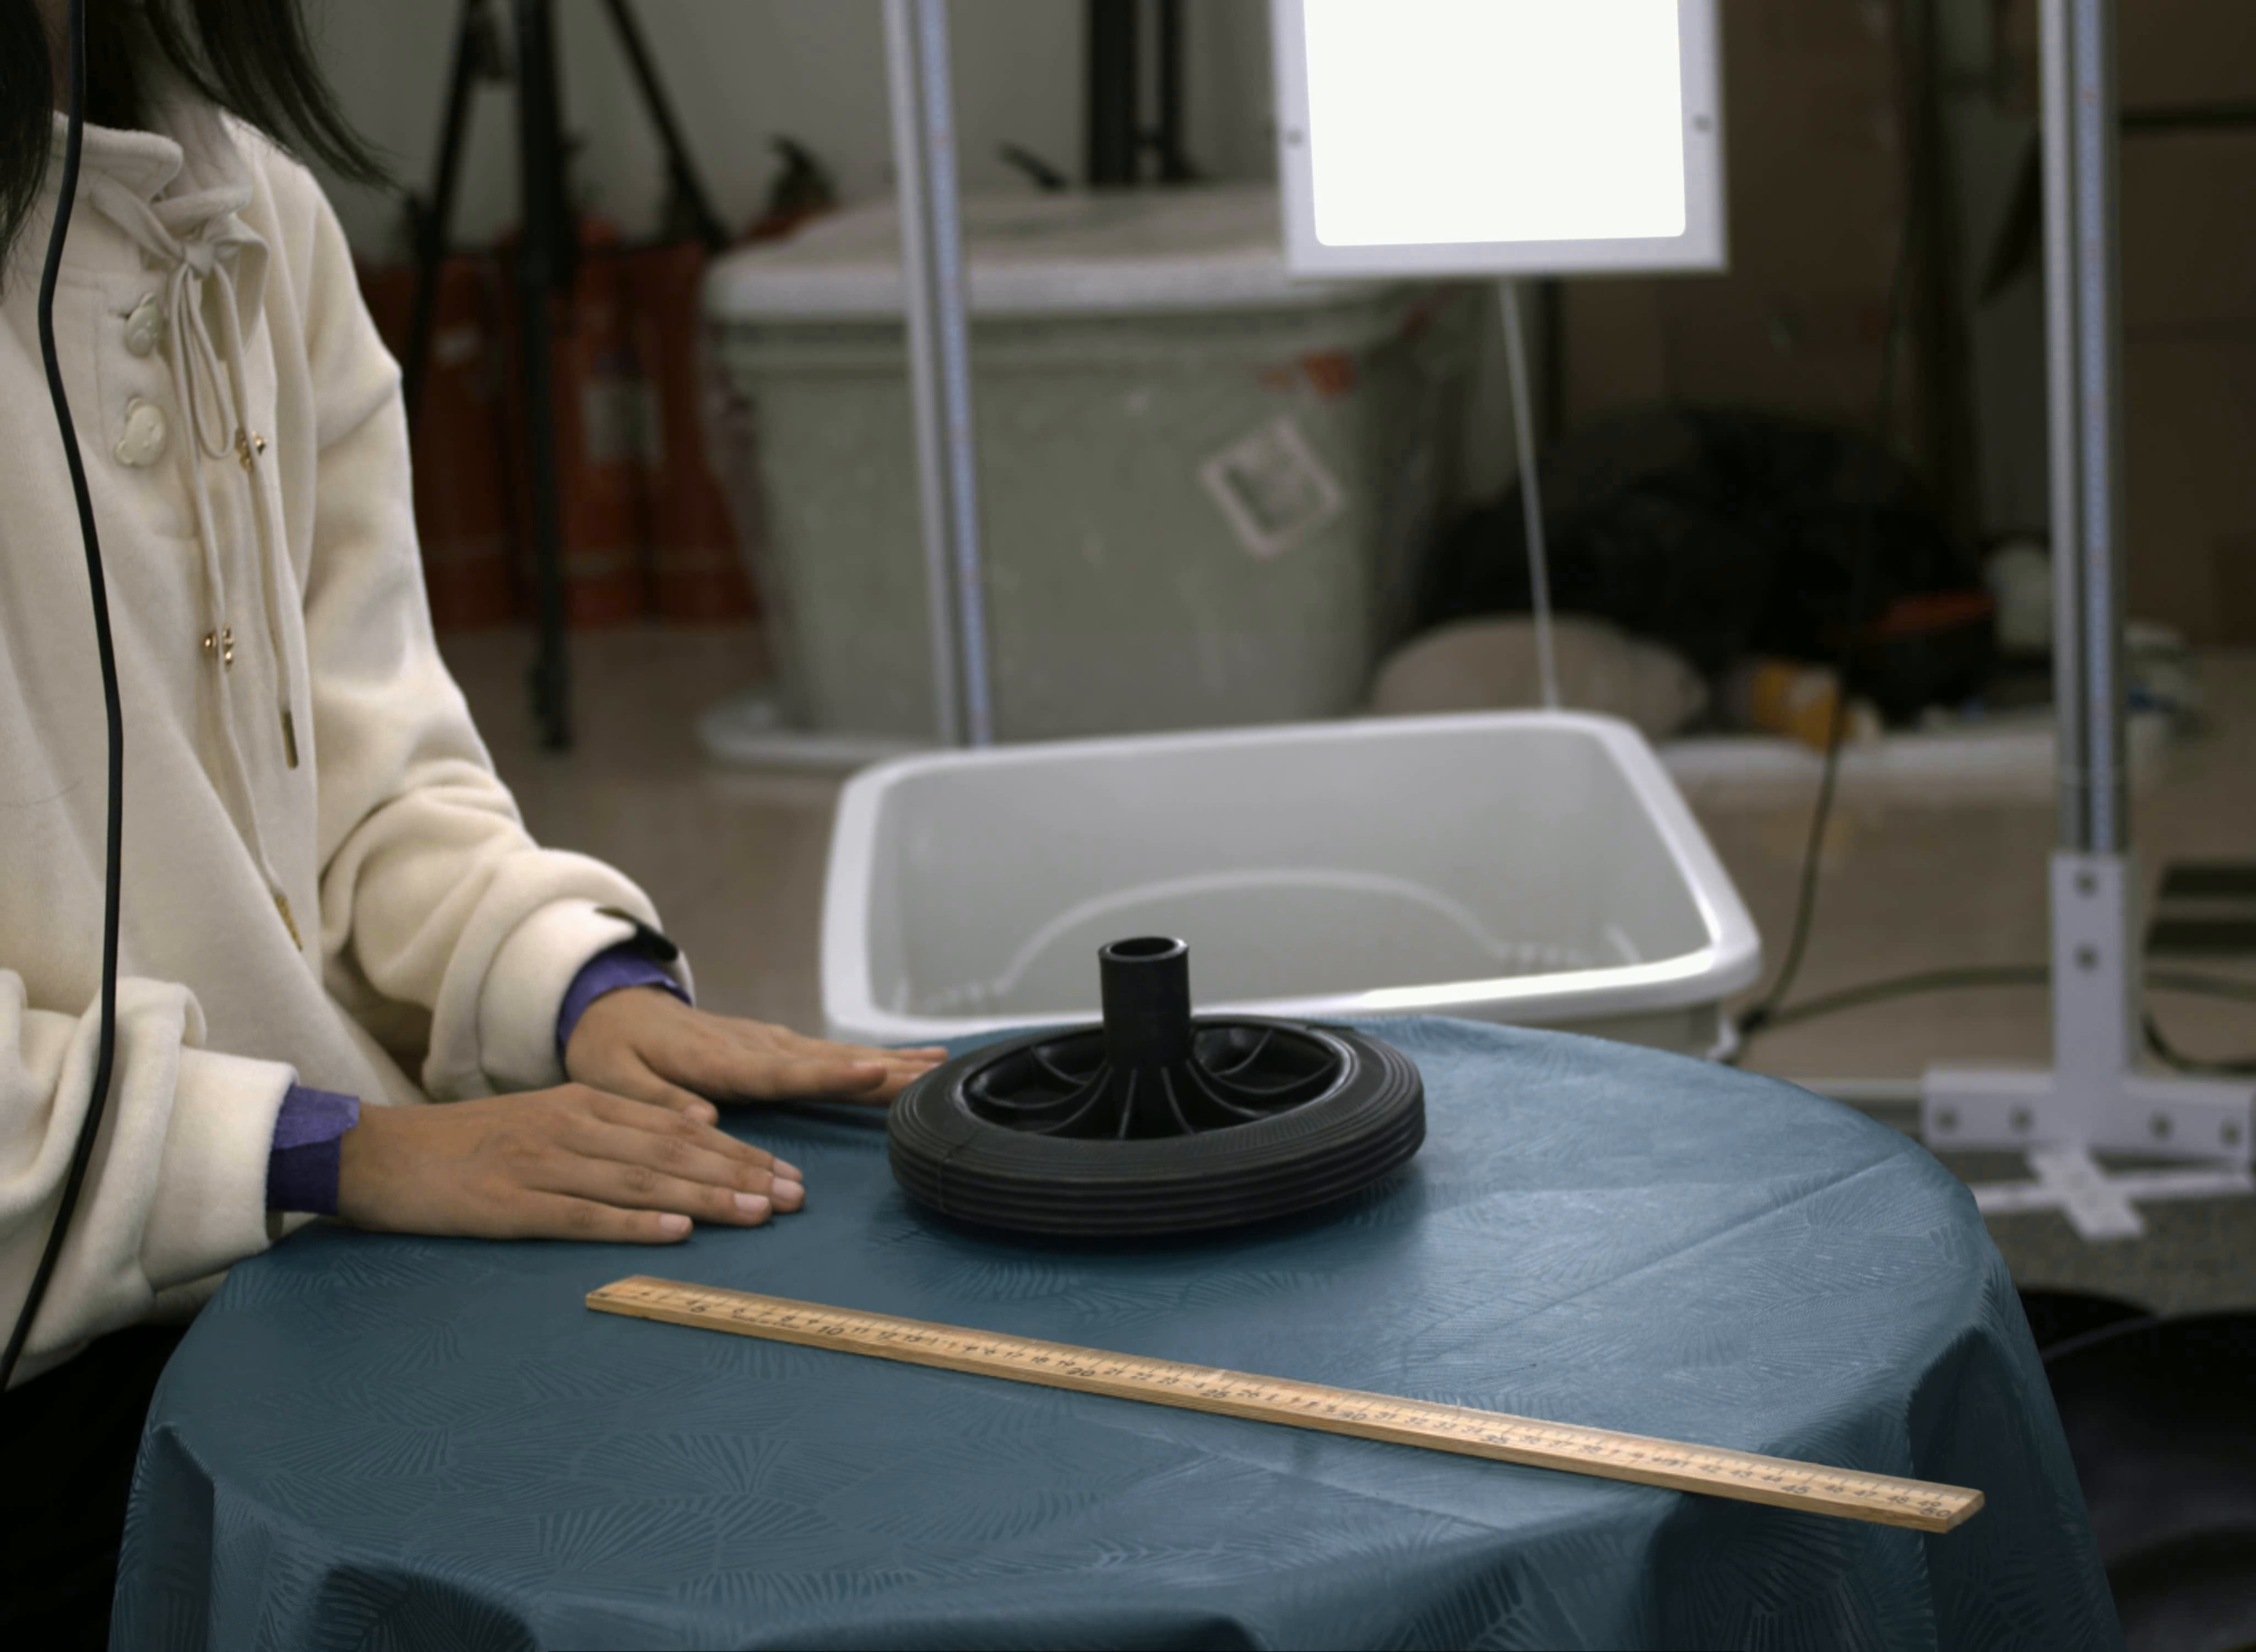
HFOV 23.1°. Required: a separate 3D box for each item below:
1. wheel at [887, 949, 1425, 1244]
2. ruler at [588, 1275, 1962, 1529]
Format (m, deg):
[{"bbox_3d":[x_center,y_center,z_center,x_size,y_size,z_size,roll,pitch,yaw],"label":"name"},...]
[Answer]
[{"bbox_3d":[0.008,0.084,1.907,0.187,0.079,0.189,-5,15,0],"label":"wheel"},{"bbox_3d":[0.029,0.174,1.685,0.511,0.006,0.026,5,18,37],"label":"ruler"}]
